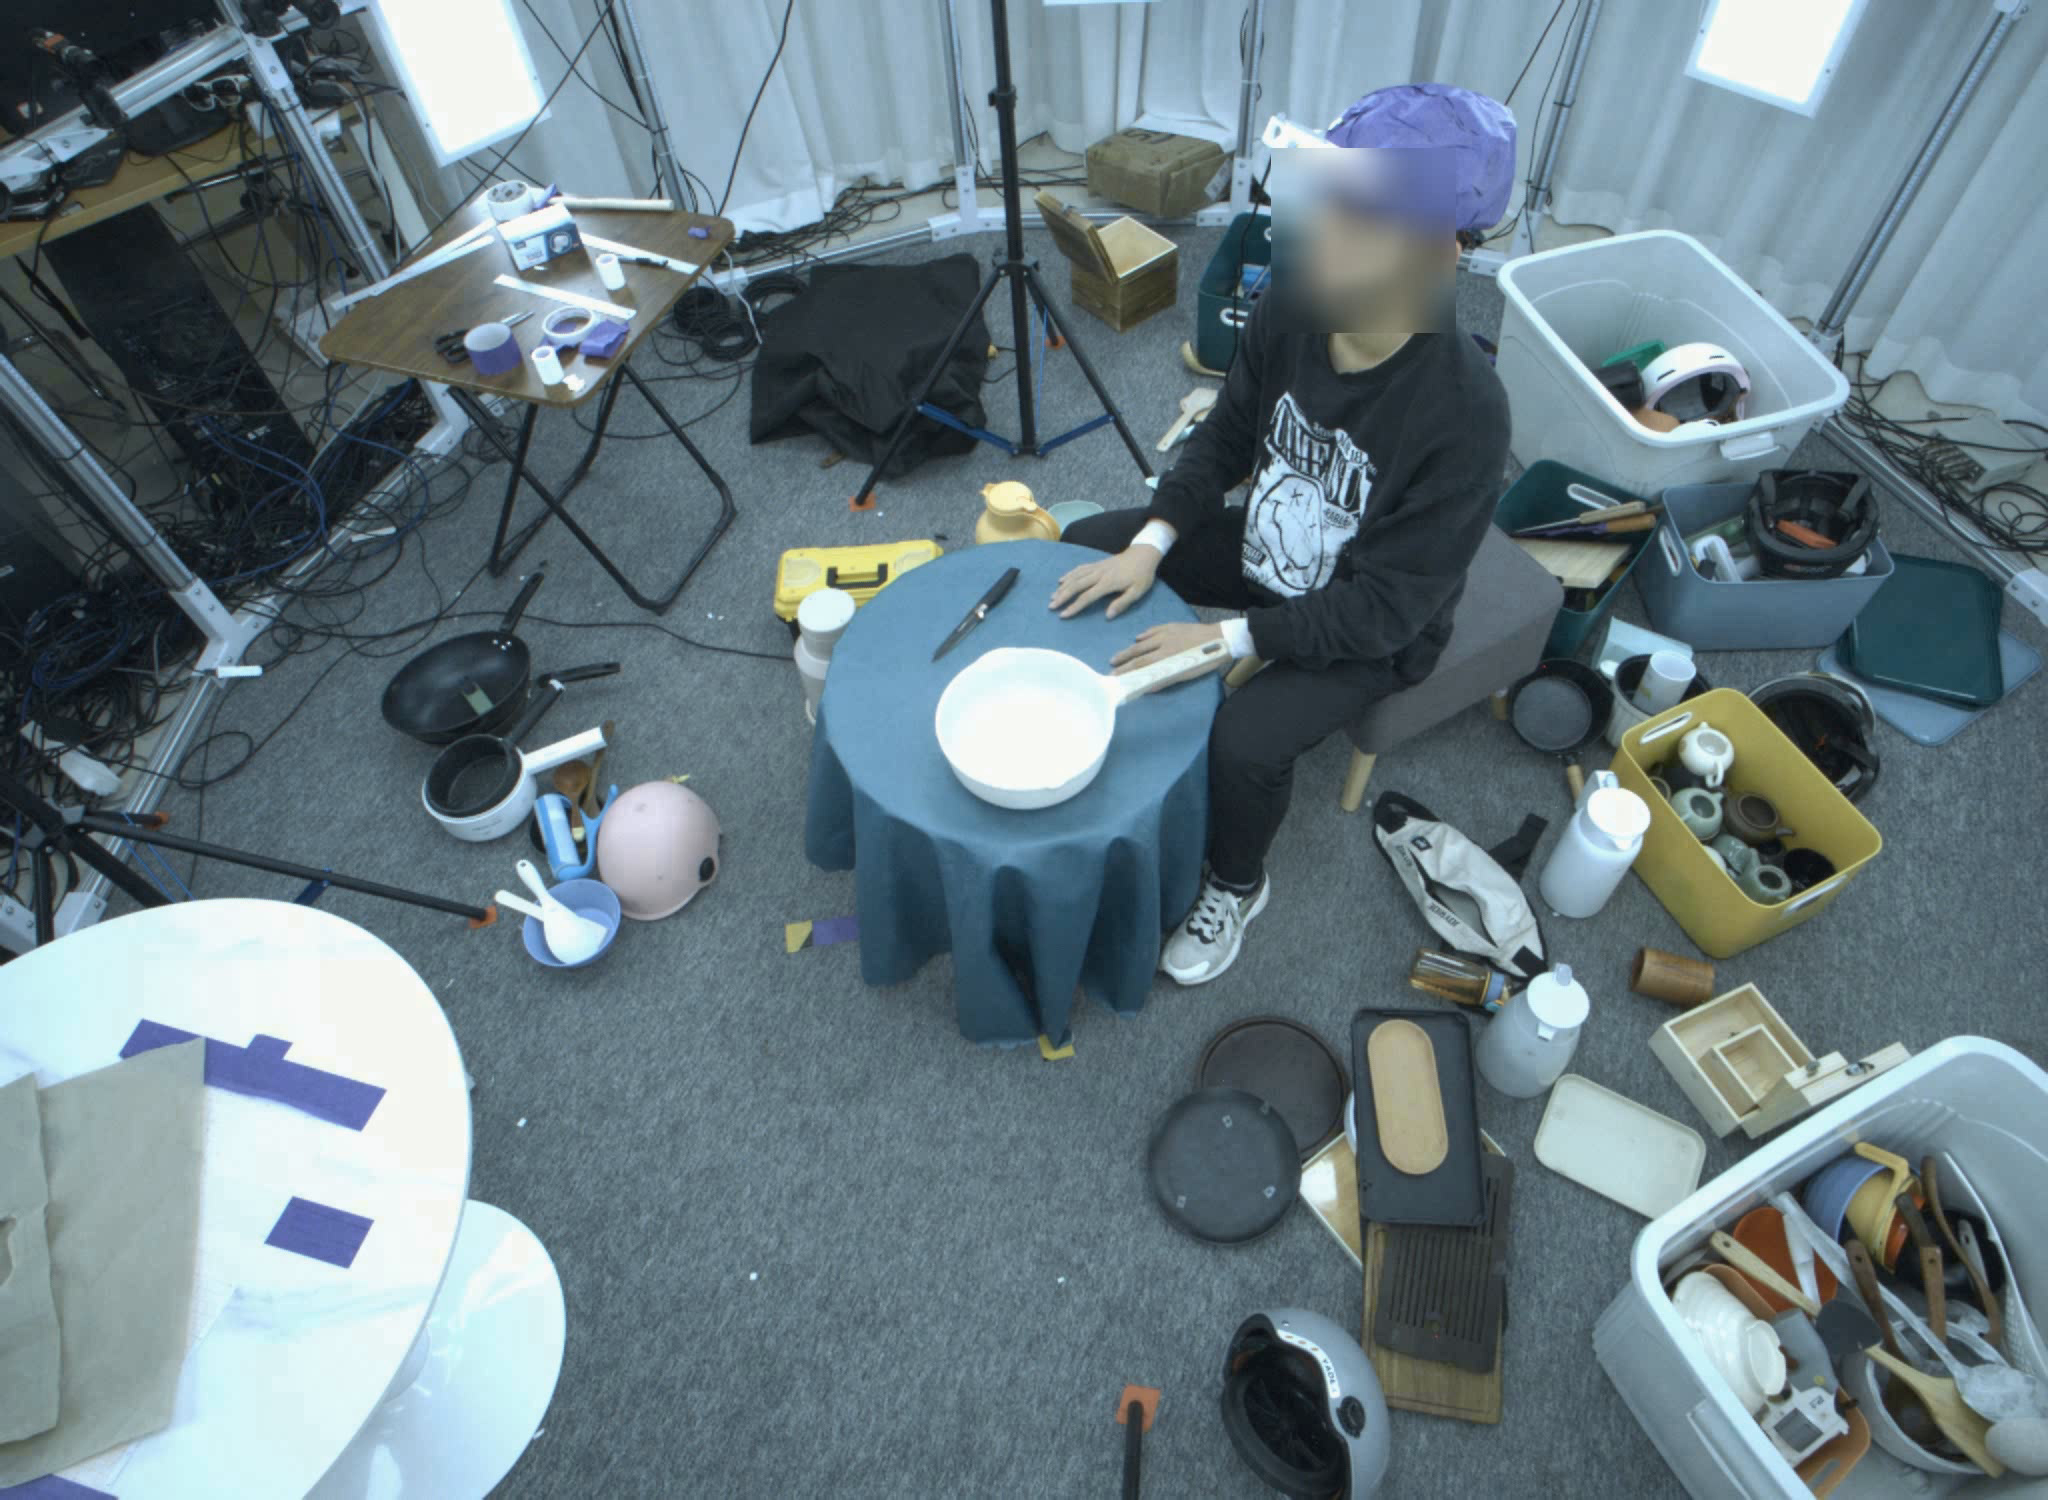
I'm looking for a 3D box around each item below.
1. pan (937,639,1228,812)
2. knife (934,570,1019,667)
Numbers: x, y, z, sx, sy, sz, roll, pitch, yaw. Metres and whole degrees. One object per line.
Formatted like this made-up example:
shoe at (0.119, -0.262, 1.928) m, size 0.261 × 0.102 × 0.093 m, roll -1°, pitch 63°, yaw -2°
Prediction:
pan at (0.092, -0.054, 1.758) m, size 0.438 × 0.103 × 0.258 m, roll -18°, pitch 54°, yaw -11°
knife at (-0.078, -0.208, 1.930) m, size 0.026 × 0.017 × 0.226 m, roll 36°, pitch 63°, yaw 7°
